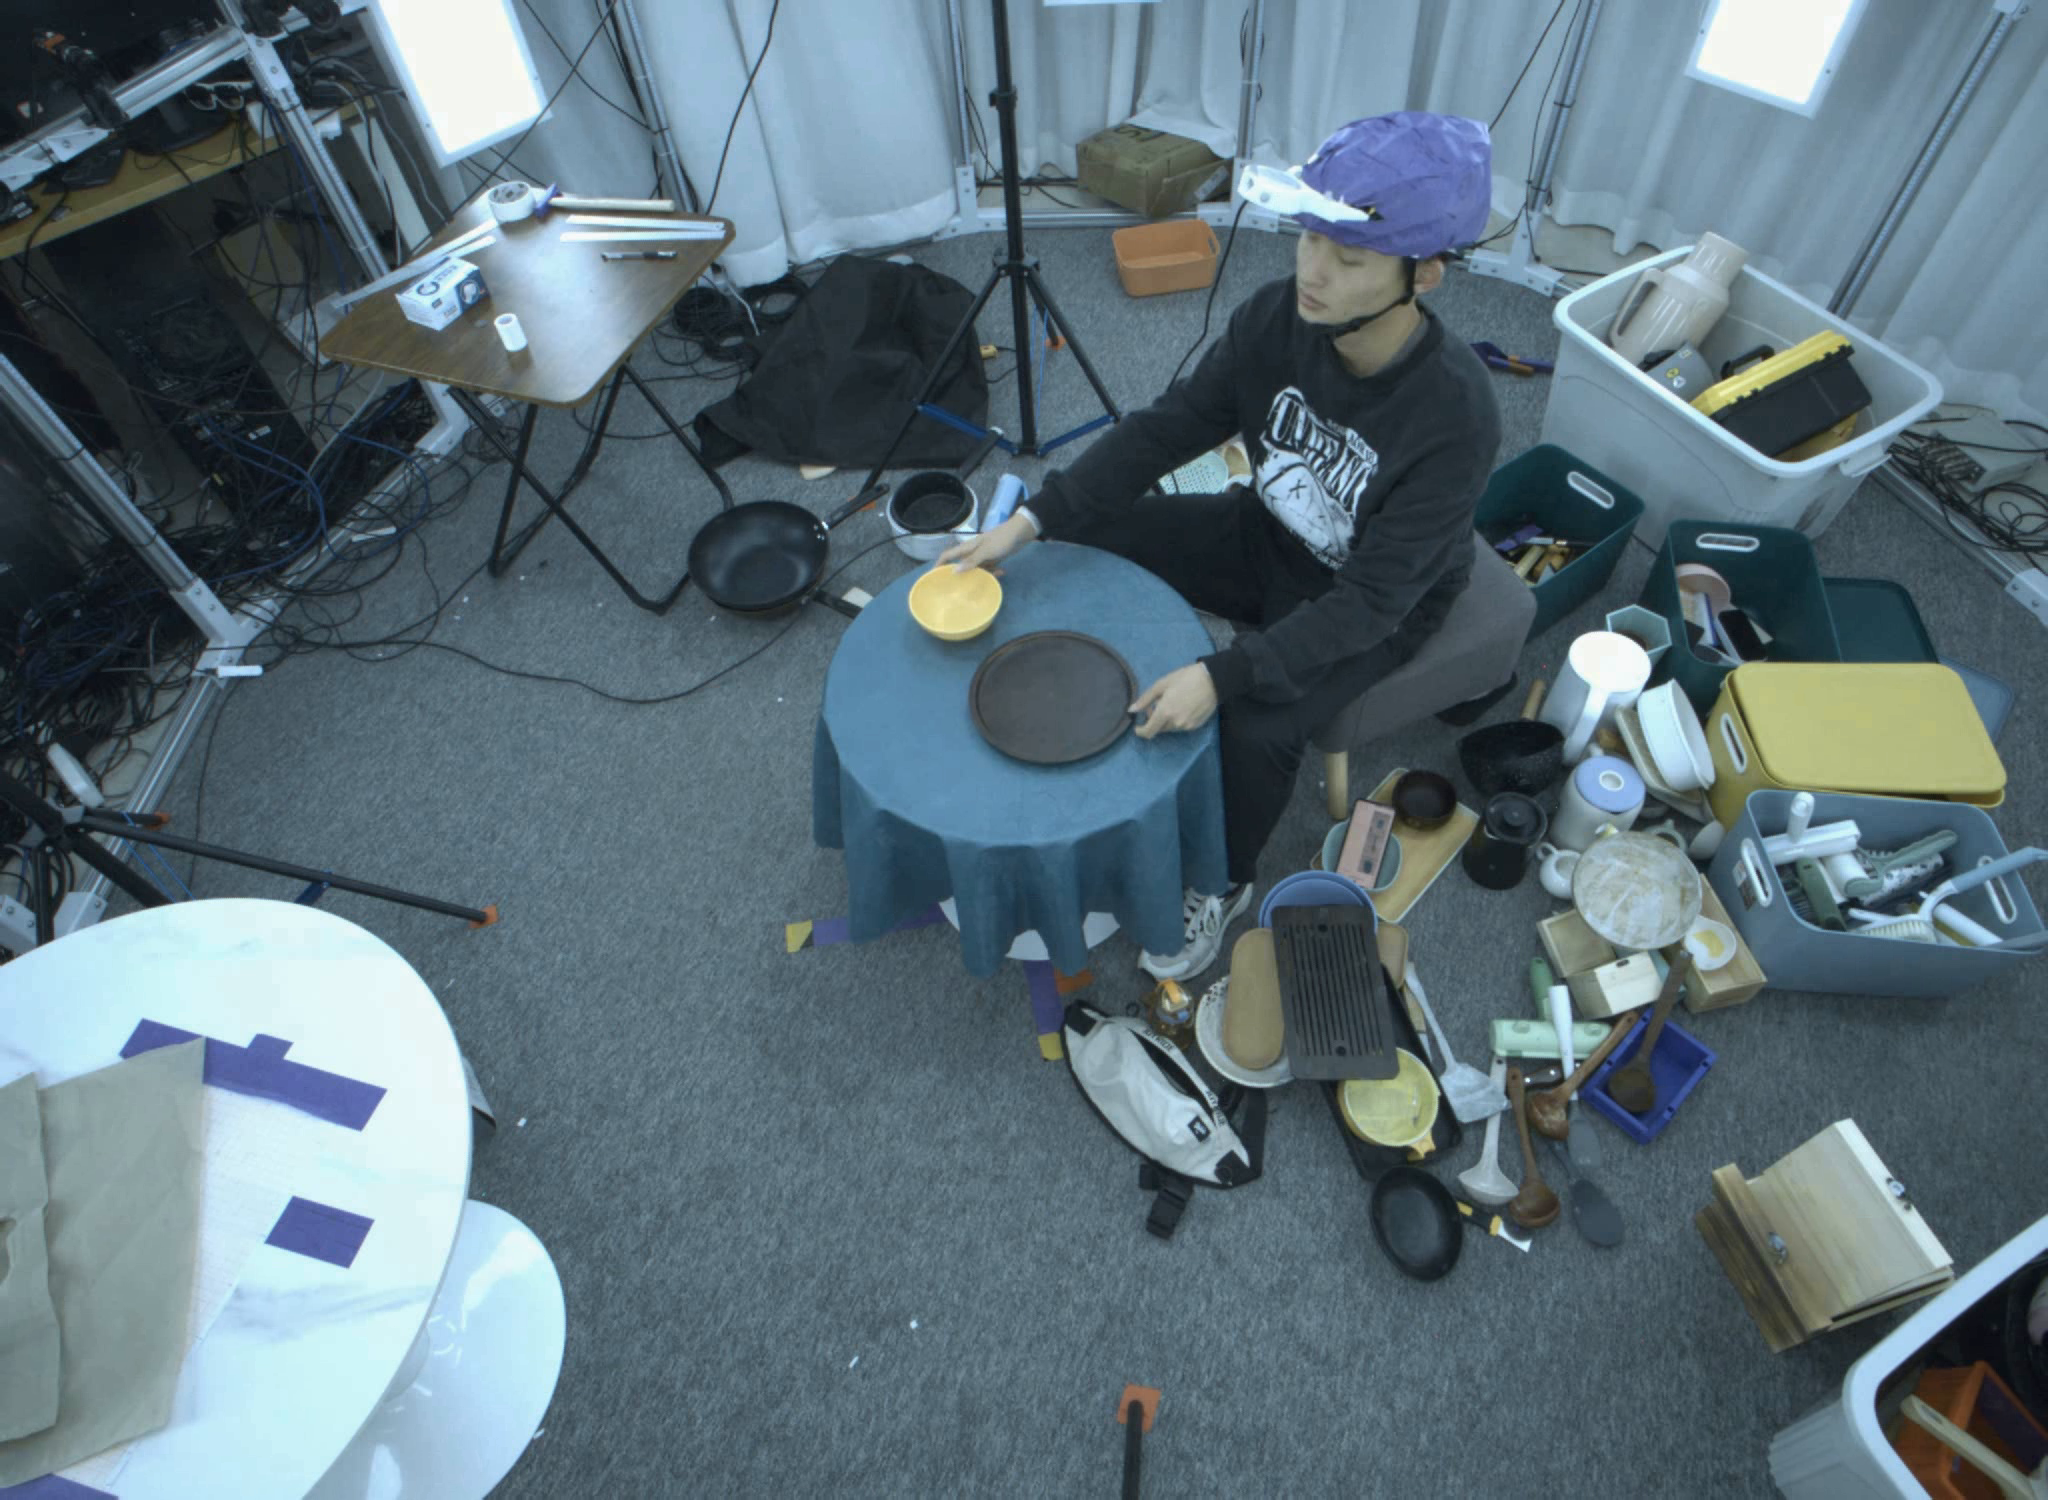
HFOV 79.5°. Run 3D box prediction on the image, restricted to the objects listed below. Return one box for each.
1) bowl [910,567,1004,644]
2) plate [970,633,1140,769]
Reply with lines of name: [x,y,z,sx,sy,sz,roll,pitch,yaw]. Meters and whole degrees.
bowl: [-0.104,-0.214,1.917,0.145,0.060,0.144,1,55,-1]
plate: [0.046,-0.074,1.835,0.254,0.029,0.252,0,53,2]
